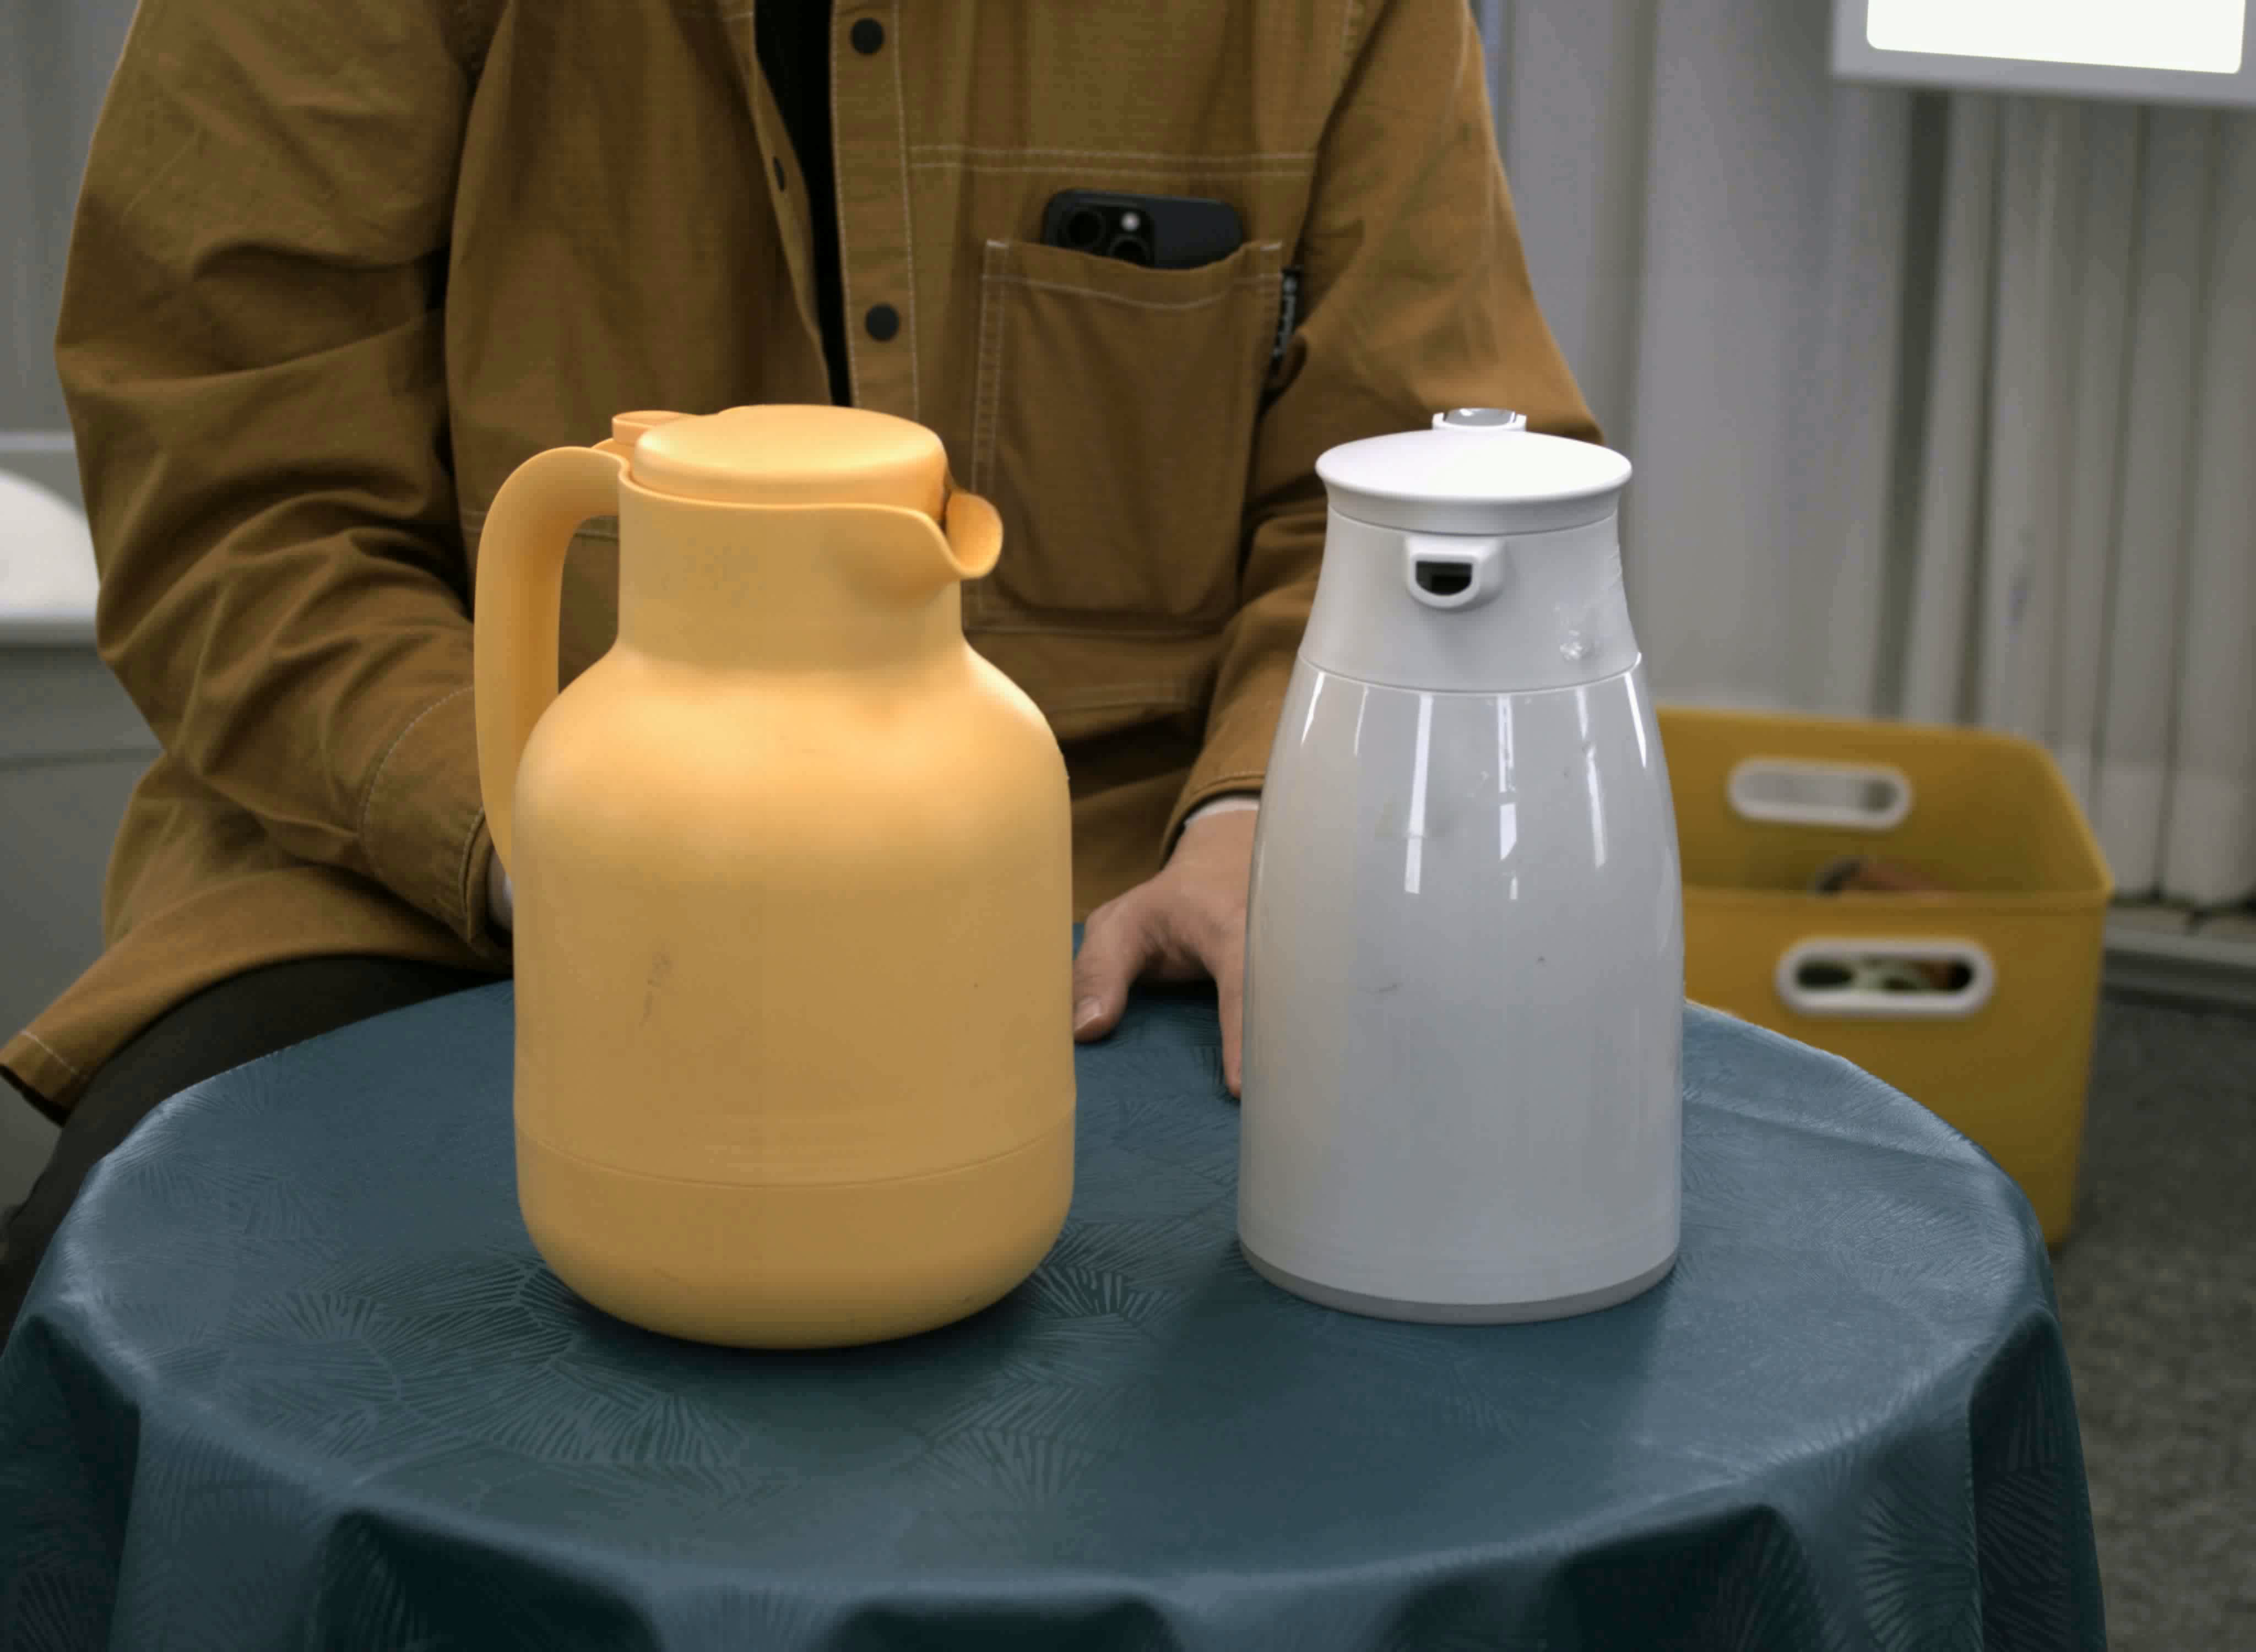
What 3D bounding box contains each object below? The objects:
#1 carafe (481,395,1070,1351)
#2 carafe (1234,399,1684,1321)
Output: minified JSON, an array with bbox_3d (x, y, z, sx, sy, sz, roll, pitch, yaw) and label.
[{"bbox_3d":[-0.110,0.005,1.517,0.199,0.262,0.164,16,20,41],"label":"carafe"},{"bbox_3d":[0.101,0.001,1.559,0.132,0.250,0.167,3,16,9],"label":"carafe"}]
